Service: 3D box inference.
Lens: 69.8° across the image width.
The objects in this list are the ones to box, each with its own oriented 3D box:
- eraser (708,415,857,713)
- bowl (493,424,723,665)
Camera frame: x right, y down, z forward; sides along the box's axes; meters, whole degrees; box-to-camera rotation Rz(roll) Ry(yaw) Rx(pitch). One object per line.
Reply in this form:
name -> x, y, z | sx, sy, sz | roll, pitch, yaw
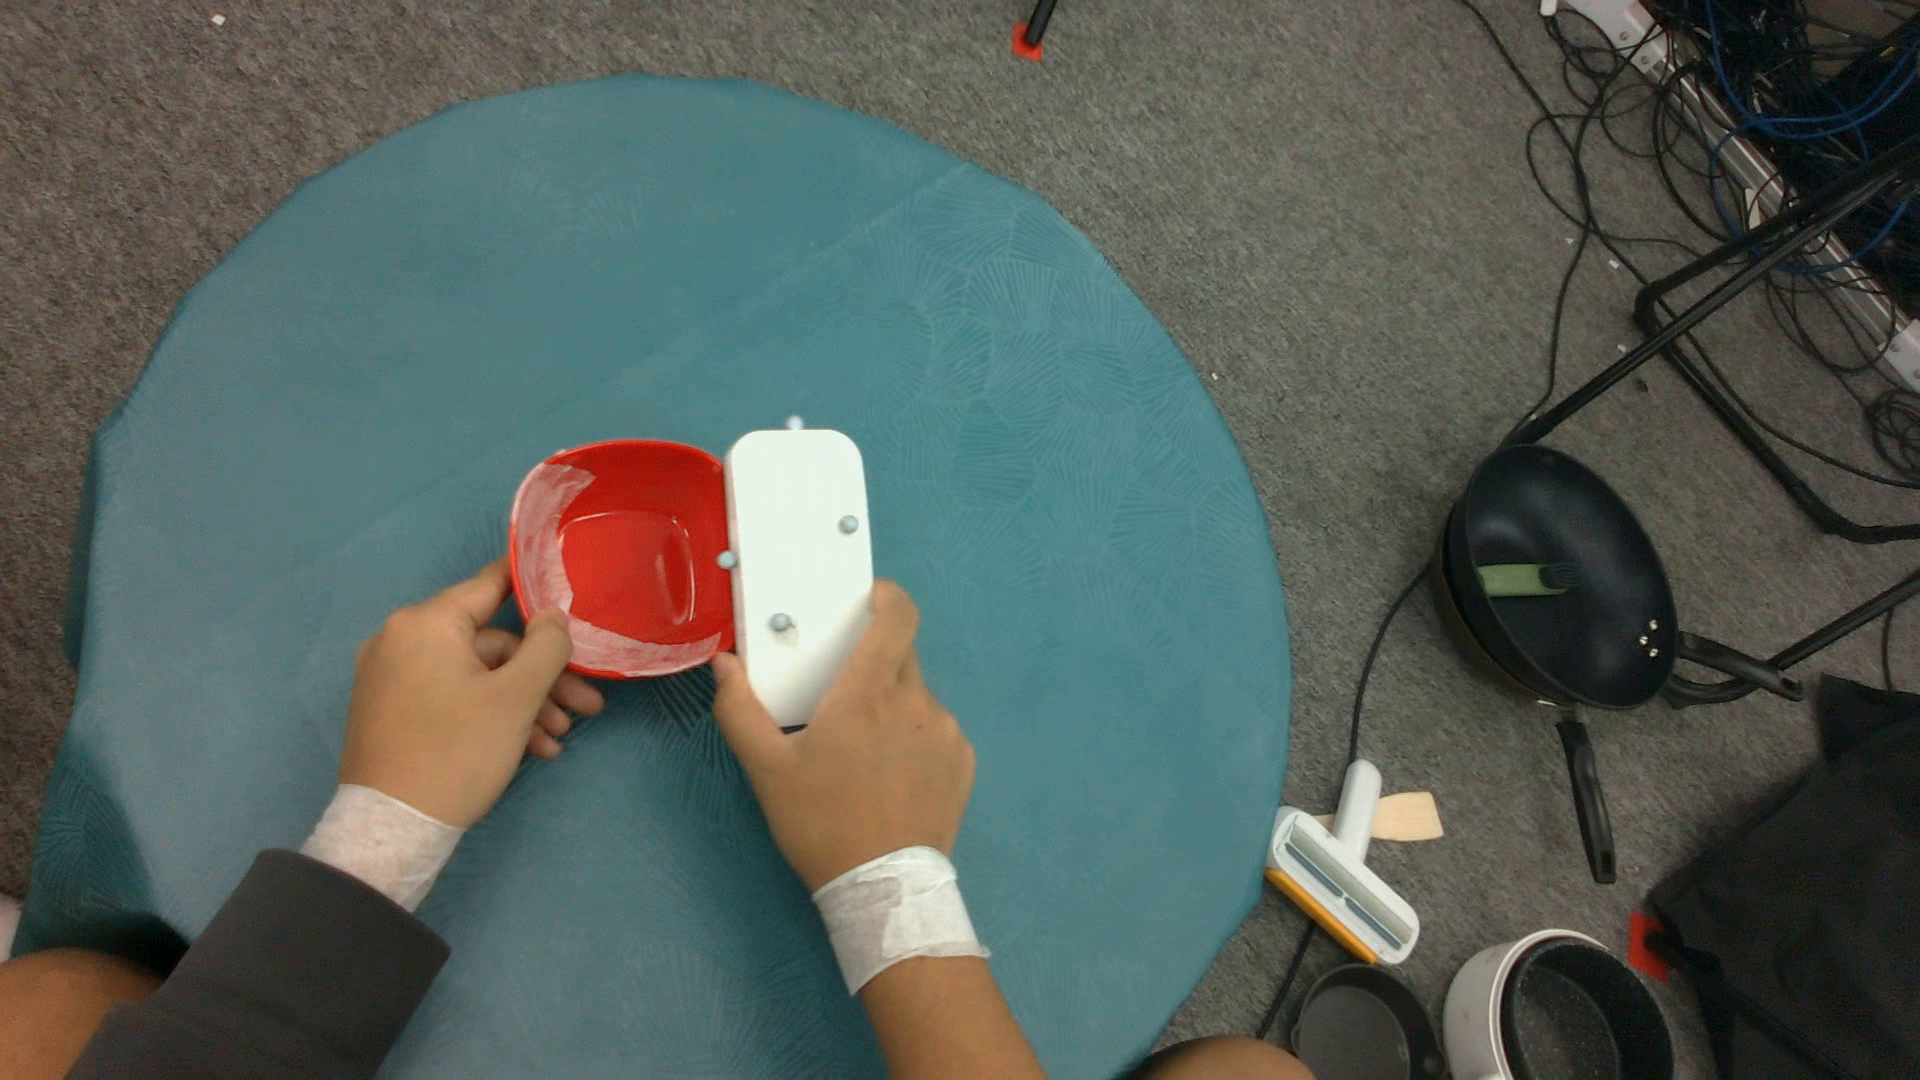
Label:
eraser -> -0.081, 0.010, 0.616 | 0.063, 0.034, 0.131 | -2, 89, -27
bowl -> -0.159, 0.006, 0.634 | 0.119, 0.051, 0.119 | 7, 72, -23
